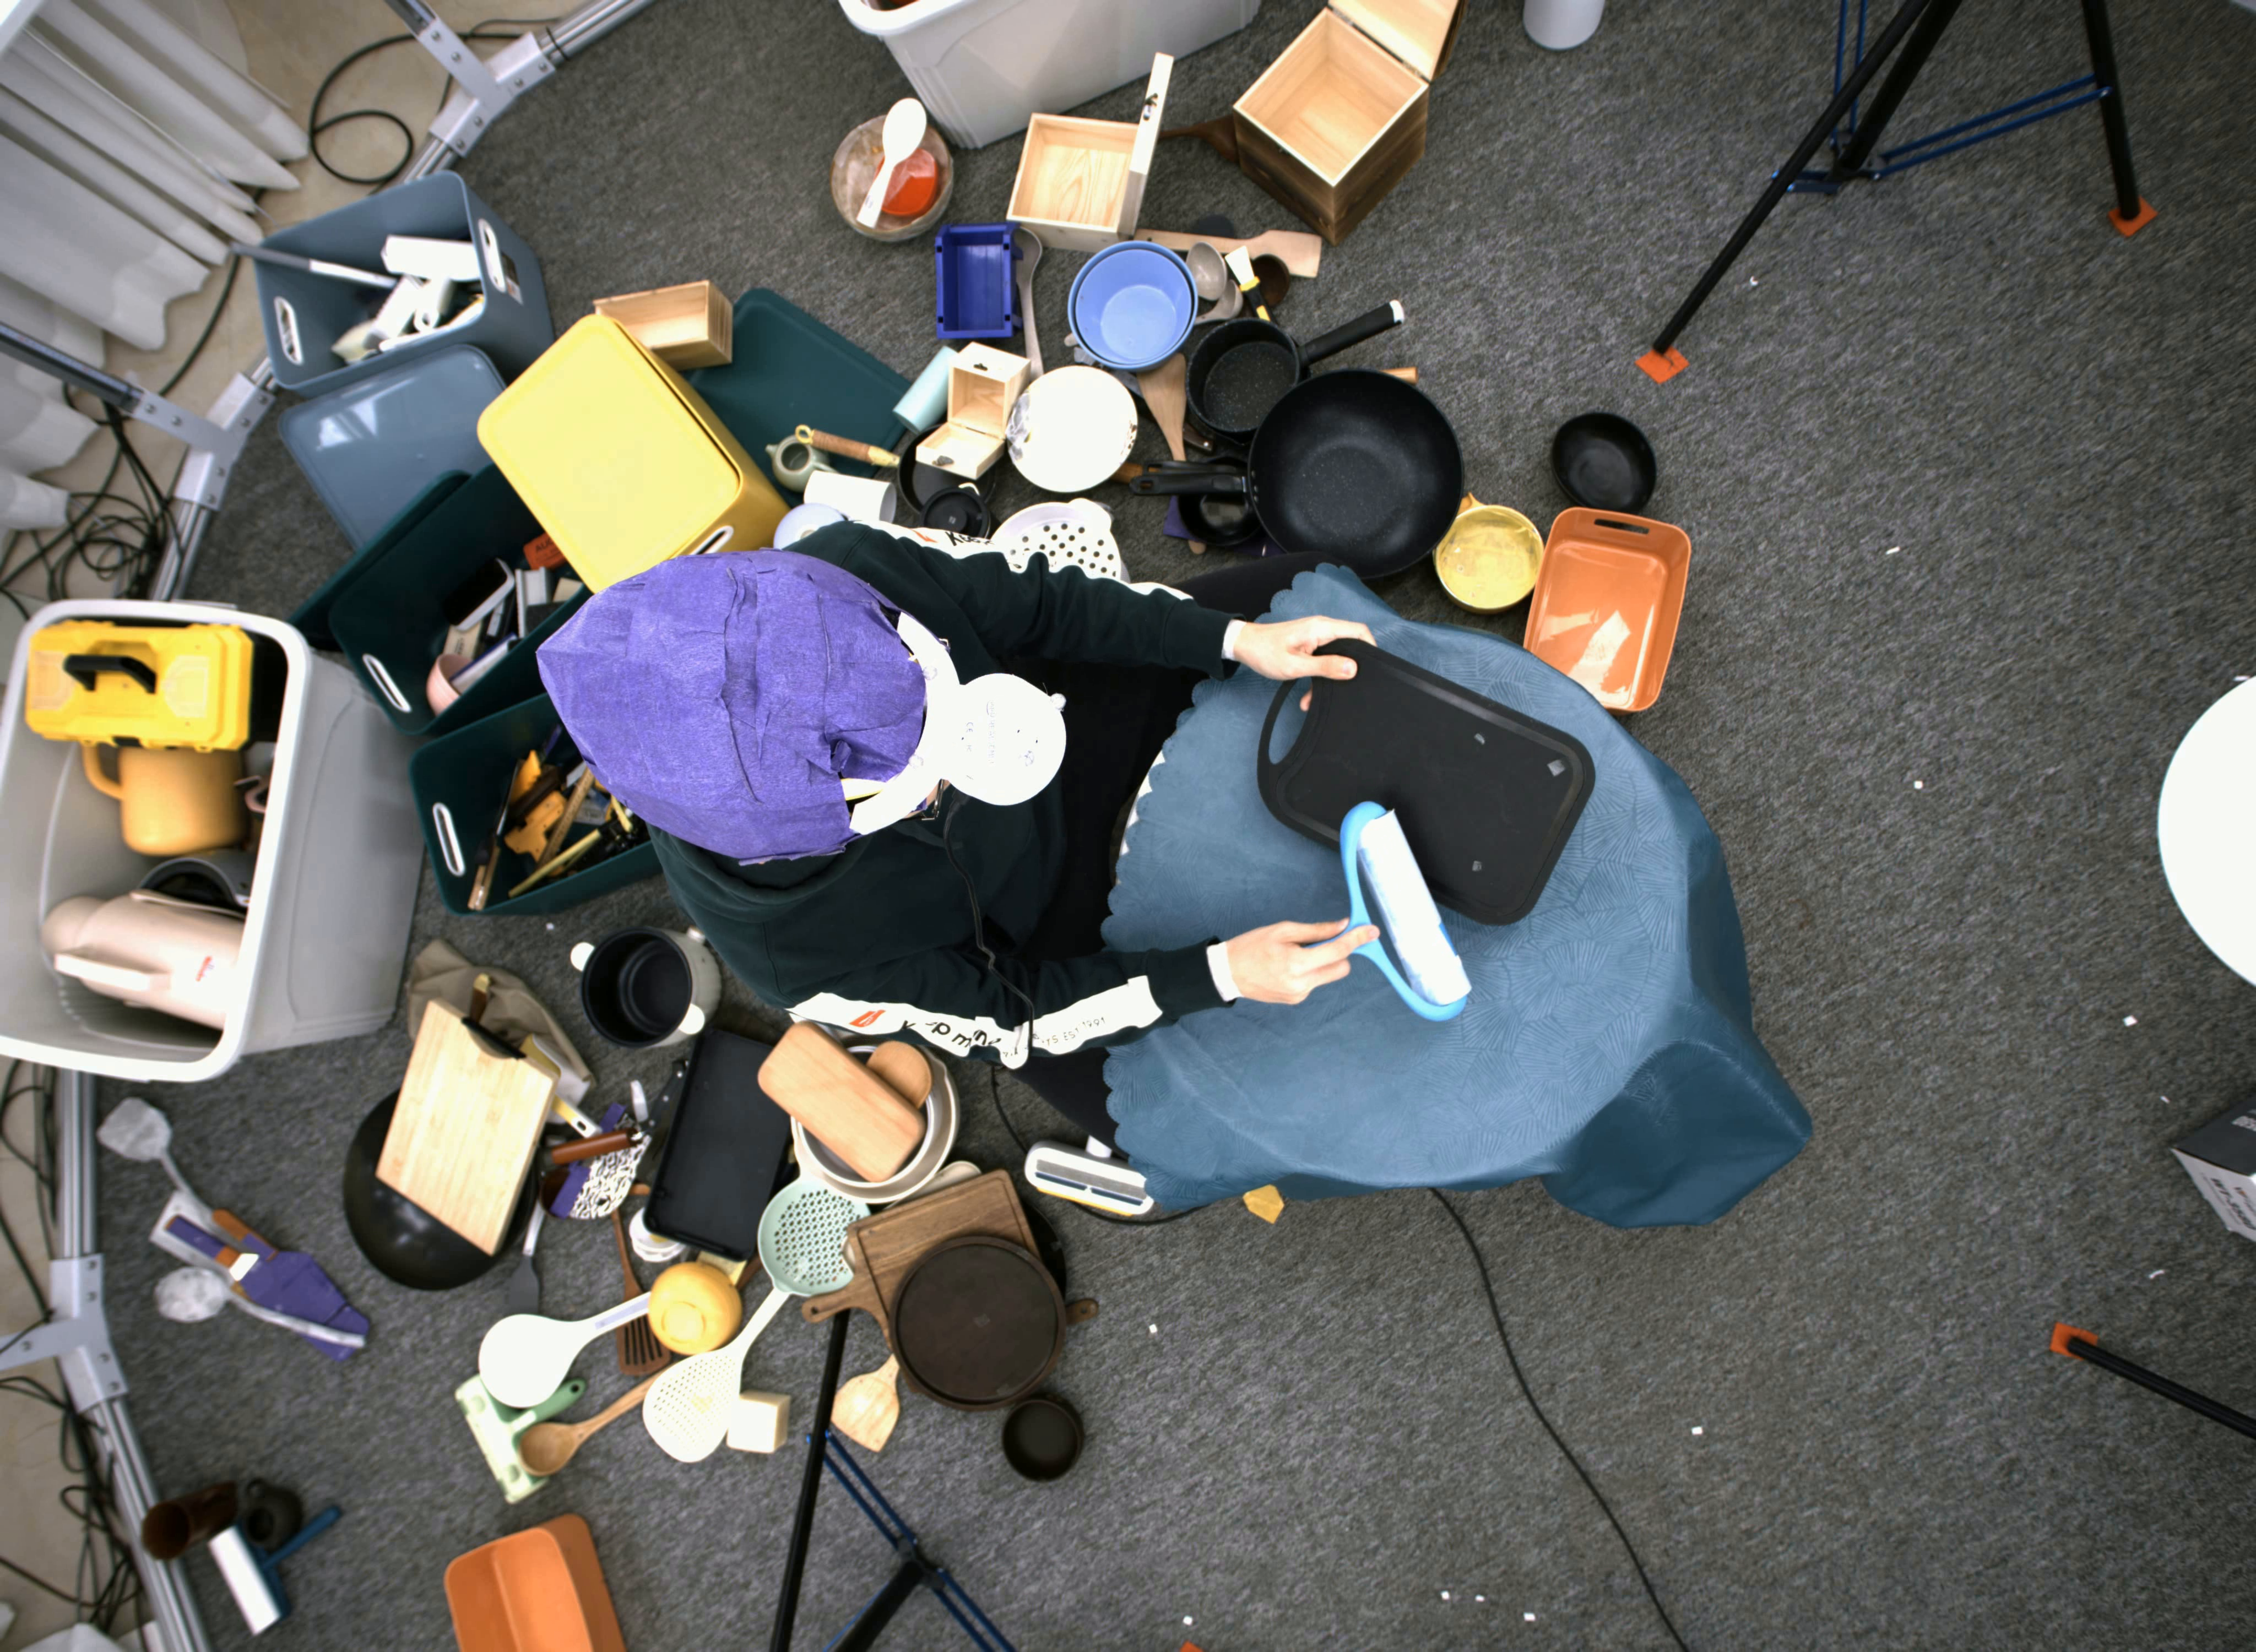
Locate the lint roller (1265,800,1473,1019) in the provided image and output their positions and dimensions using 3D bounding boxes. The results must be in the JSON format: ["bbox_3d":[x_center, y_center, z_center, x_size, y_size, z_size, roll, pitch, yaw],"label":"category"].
[{"bbox_3d":[0.221,0.107,1.347,0.180,0.068,0.229,-27,96,-2],"label":"lint roller"}]

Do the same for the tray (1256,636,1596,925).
[{"bbox_3d":[0.279,-0.049,1.360,0.324,0.009,0.215,28,116,16],"label":"tray"}]
